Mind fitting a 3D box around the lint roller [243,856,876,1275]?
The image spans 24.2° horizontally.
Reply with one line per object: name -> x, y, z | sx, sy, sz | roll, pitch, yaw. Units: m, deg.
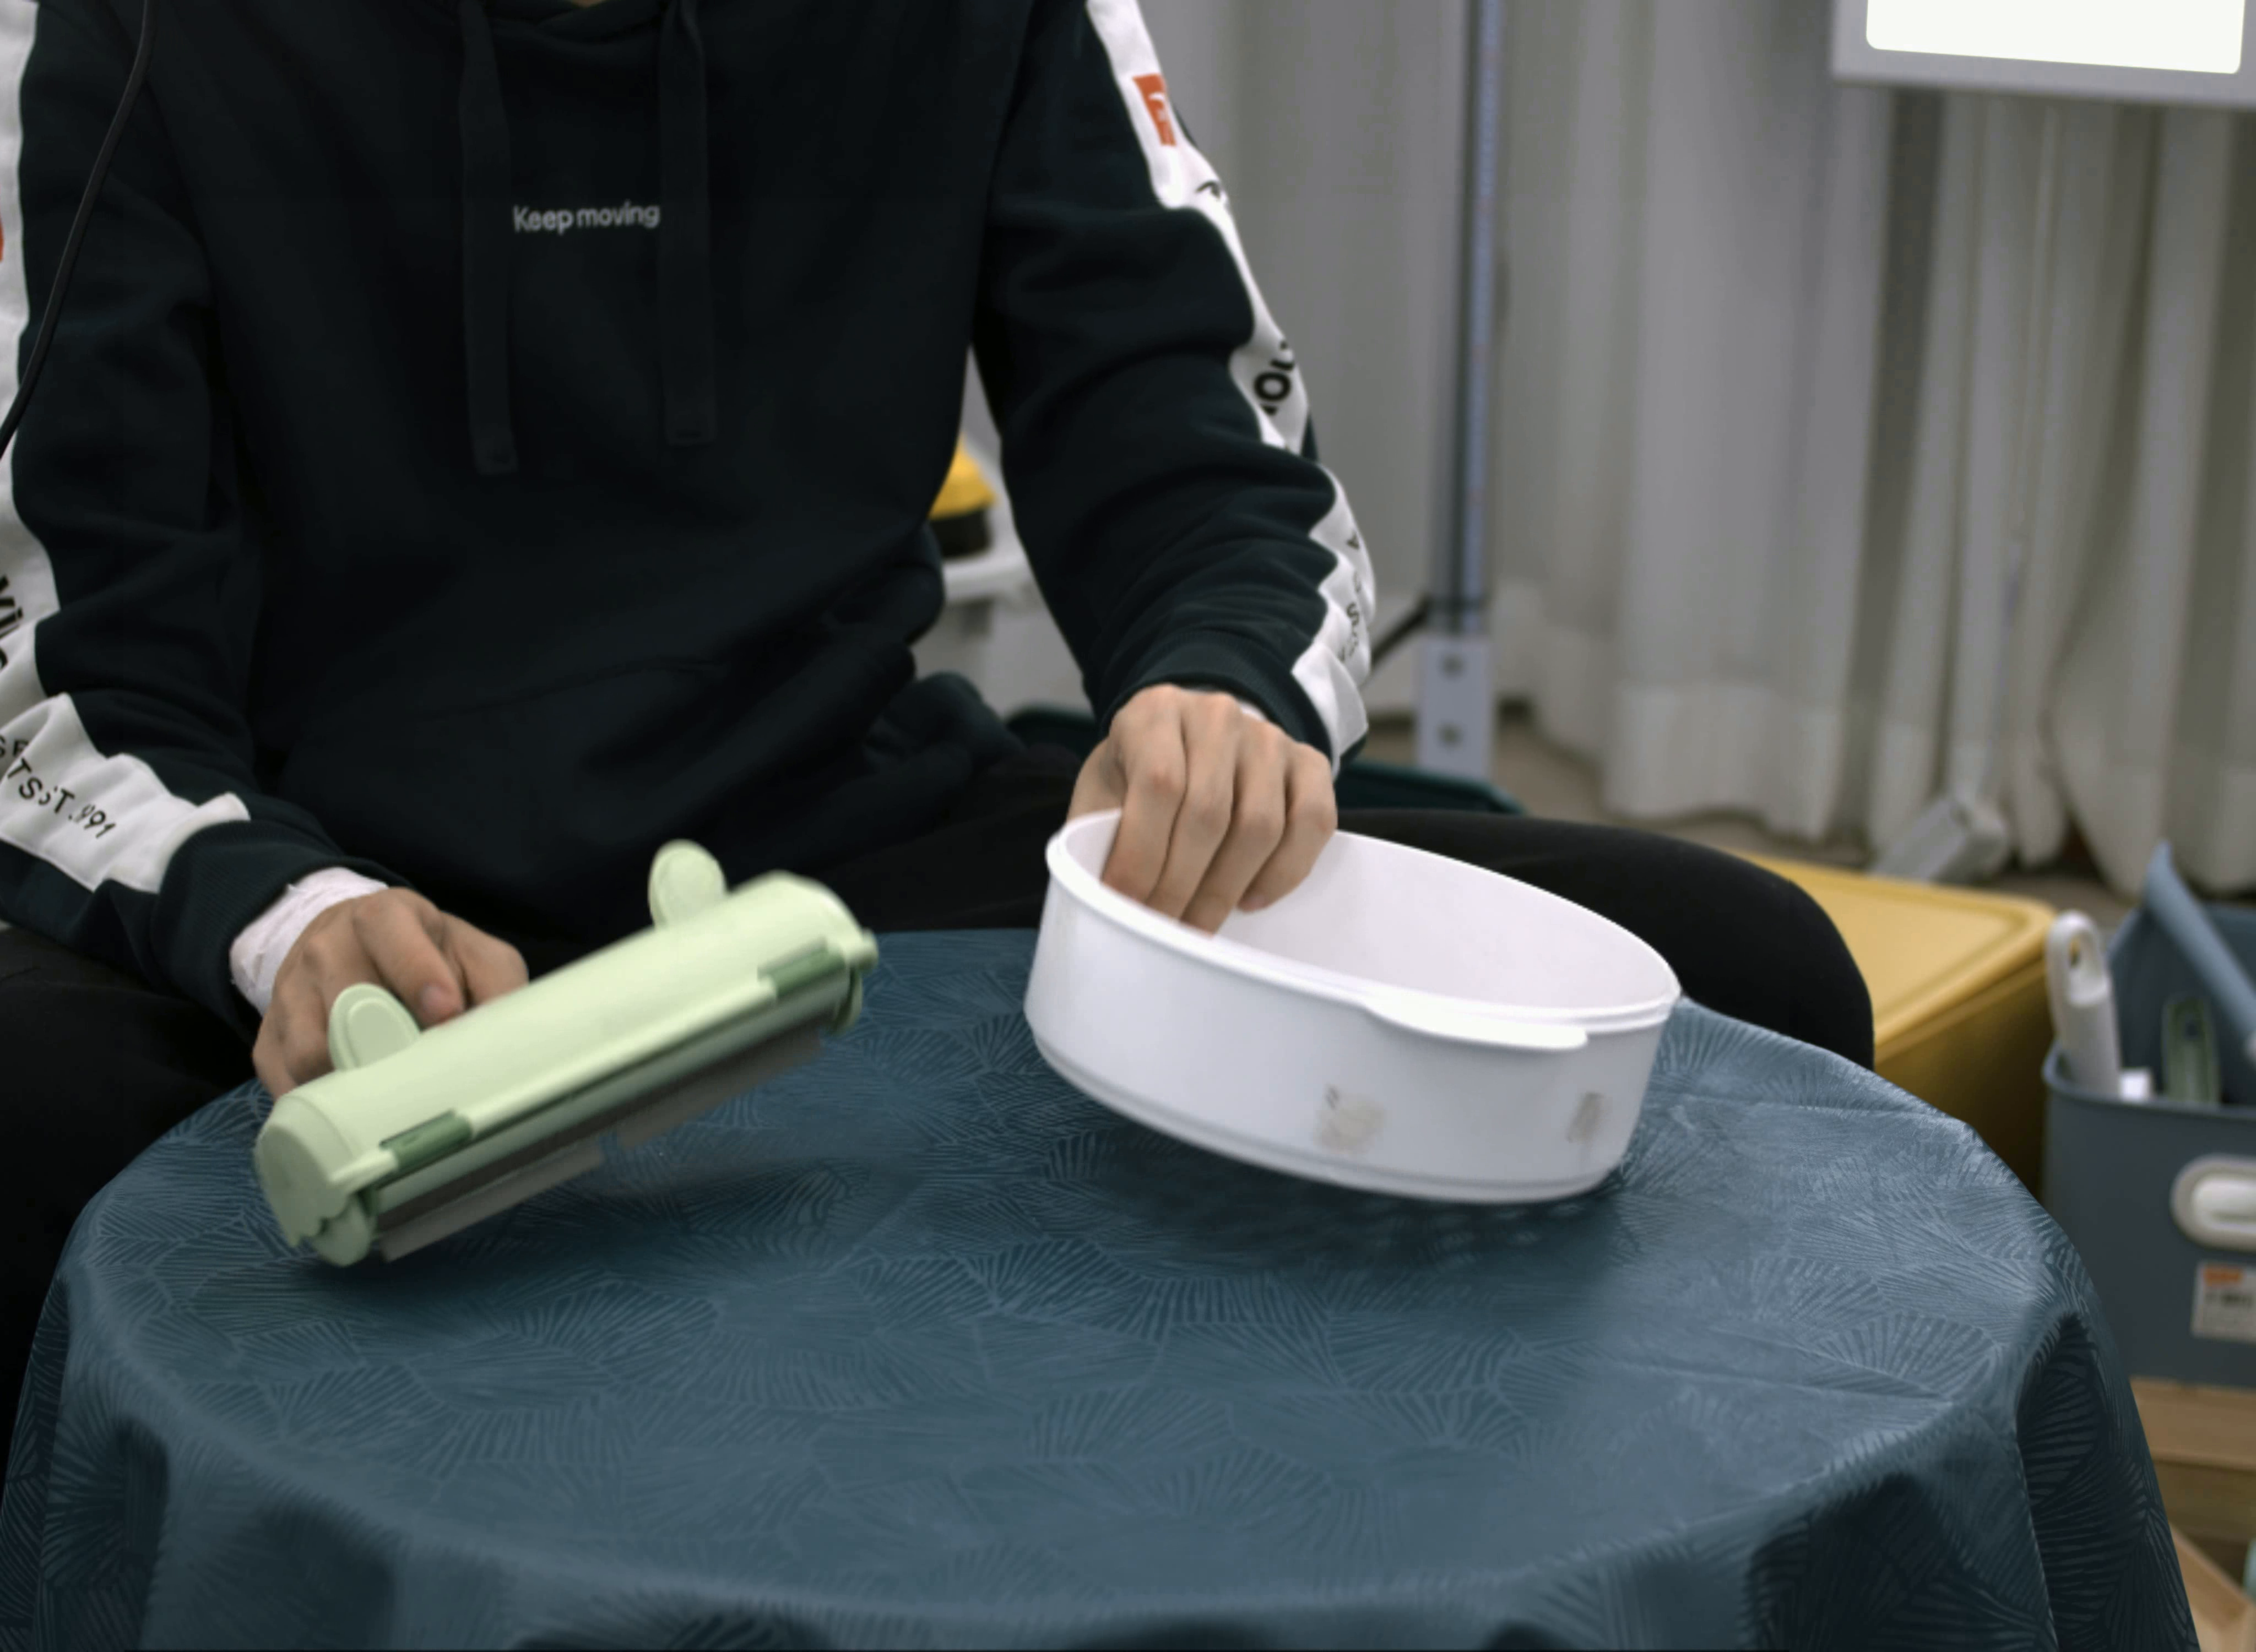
lint roller -> -0.203, 0.058, 1.613 | 0.199, 0.083, 0.181 | -23, 25, -32

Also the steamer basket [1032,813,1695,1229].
steamer basket -> 0.071, 0.060, 1.623 | 0.203, 0.070, 0.228 | 5, 17, -23
